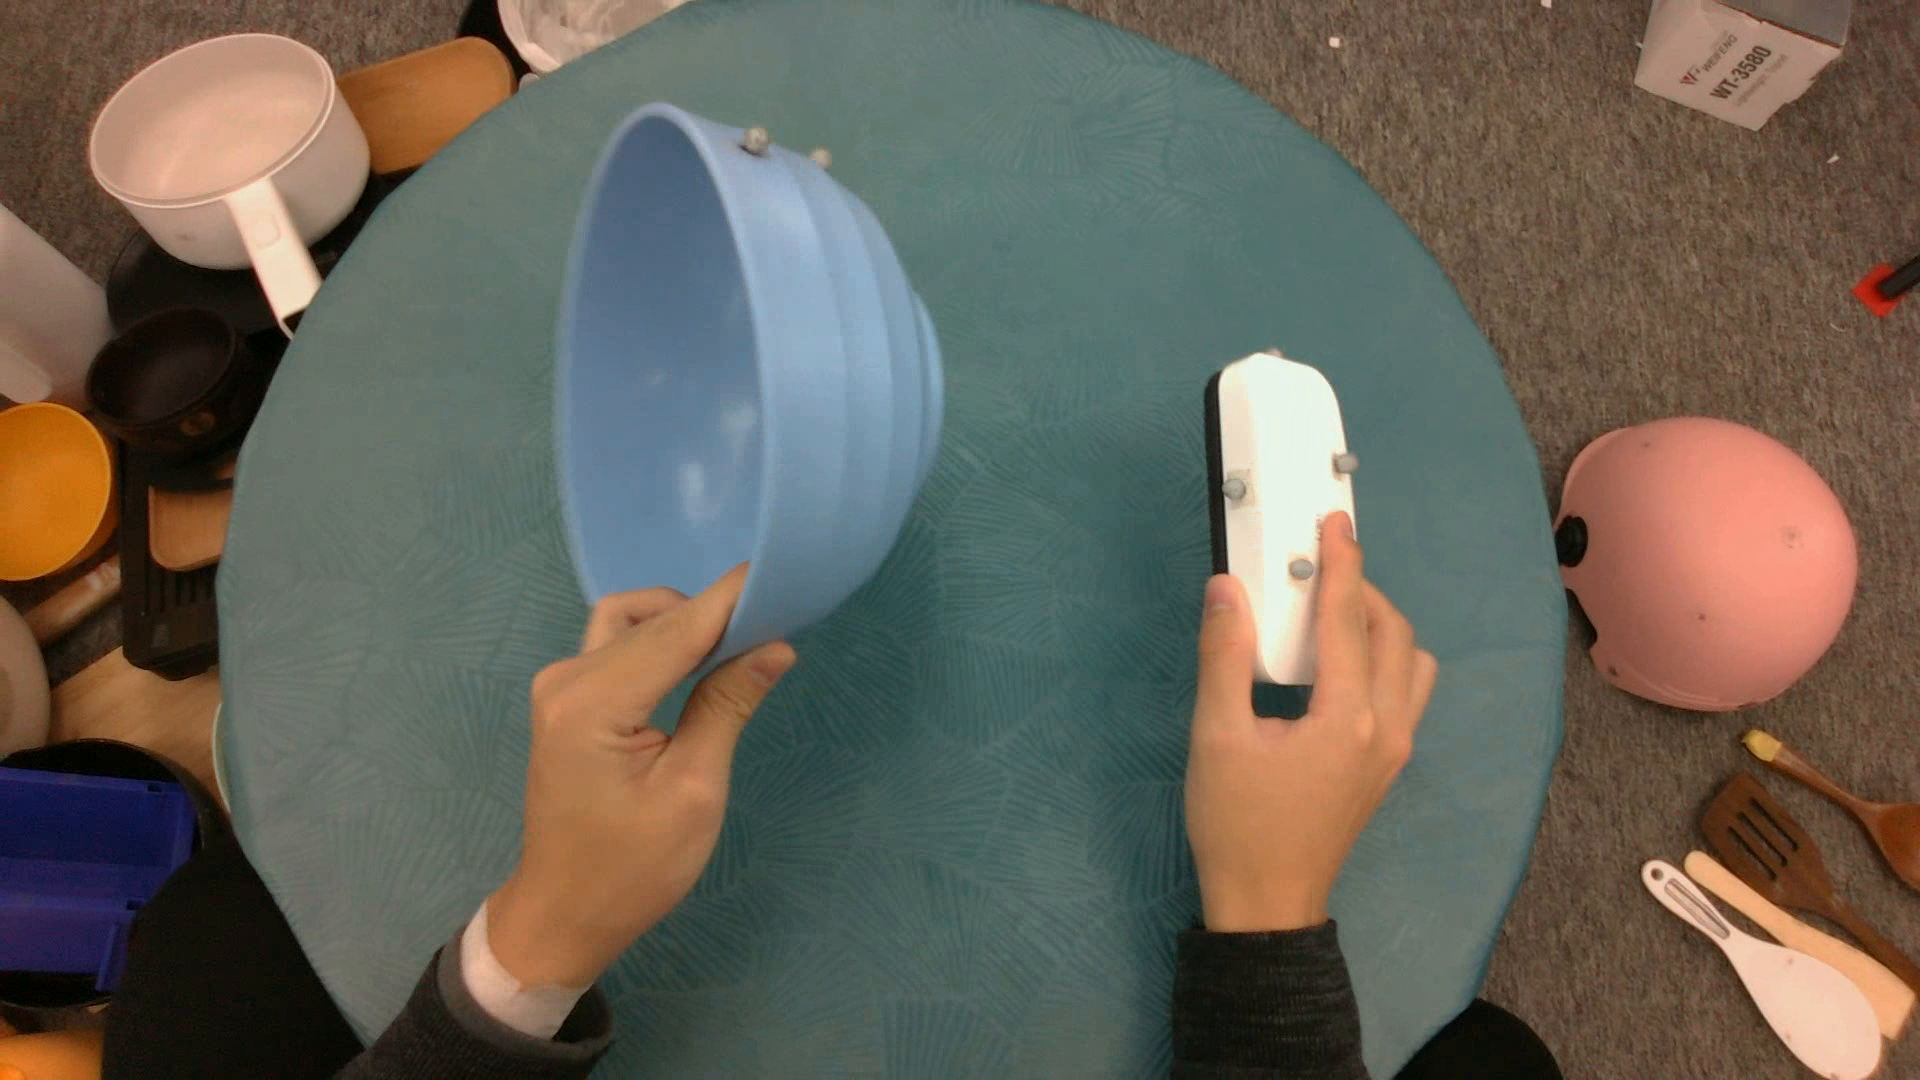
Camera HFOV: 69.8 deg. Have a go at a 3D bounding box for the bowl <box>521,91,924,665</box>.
[{"bbox_3d":[-0.077,-0.058,0.507,0.096,0.195,0.197,-6,71,-39],"label":"bowl"}]

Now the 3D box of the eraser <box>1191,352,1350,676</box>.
[{"bbox_3d":[0.127,-0.010,0.561,0.063,0.034,0.131,7,76,-38],"label":"eraser"}]
